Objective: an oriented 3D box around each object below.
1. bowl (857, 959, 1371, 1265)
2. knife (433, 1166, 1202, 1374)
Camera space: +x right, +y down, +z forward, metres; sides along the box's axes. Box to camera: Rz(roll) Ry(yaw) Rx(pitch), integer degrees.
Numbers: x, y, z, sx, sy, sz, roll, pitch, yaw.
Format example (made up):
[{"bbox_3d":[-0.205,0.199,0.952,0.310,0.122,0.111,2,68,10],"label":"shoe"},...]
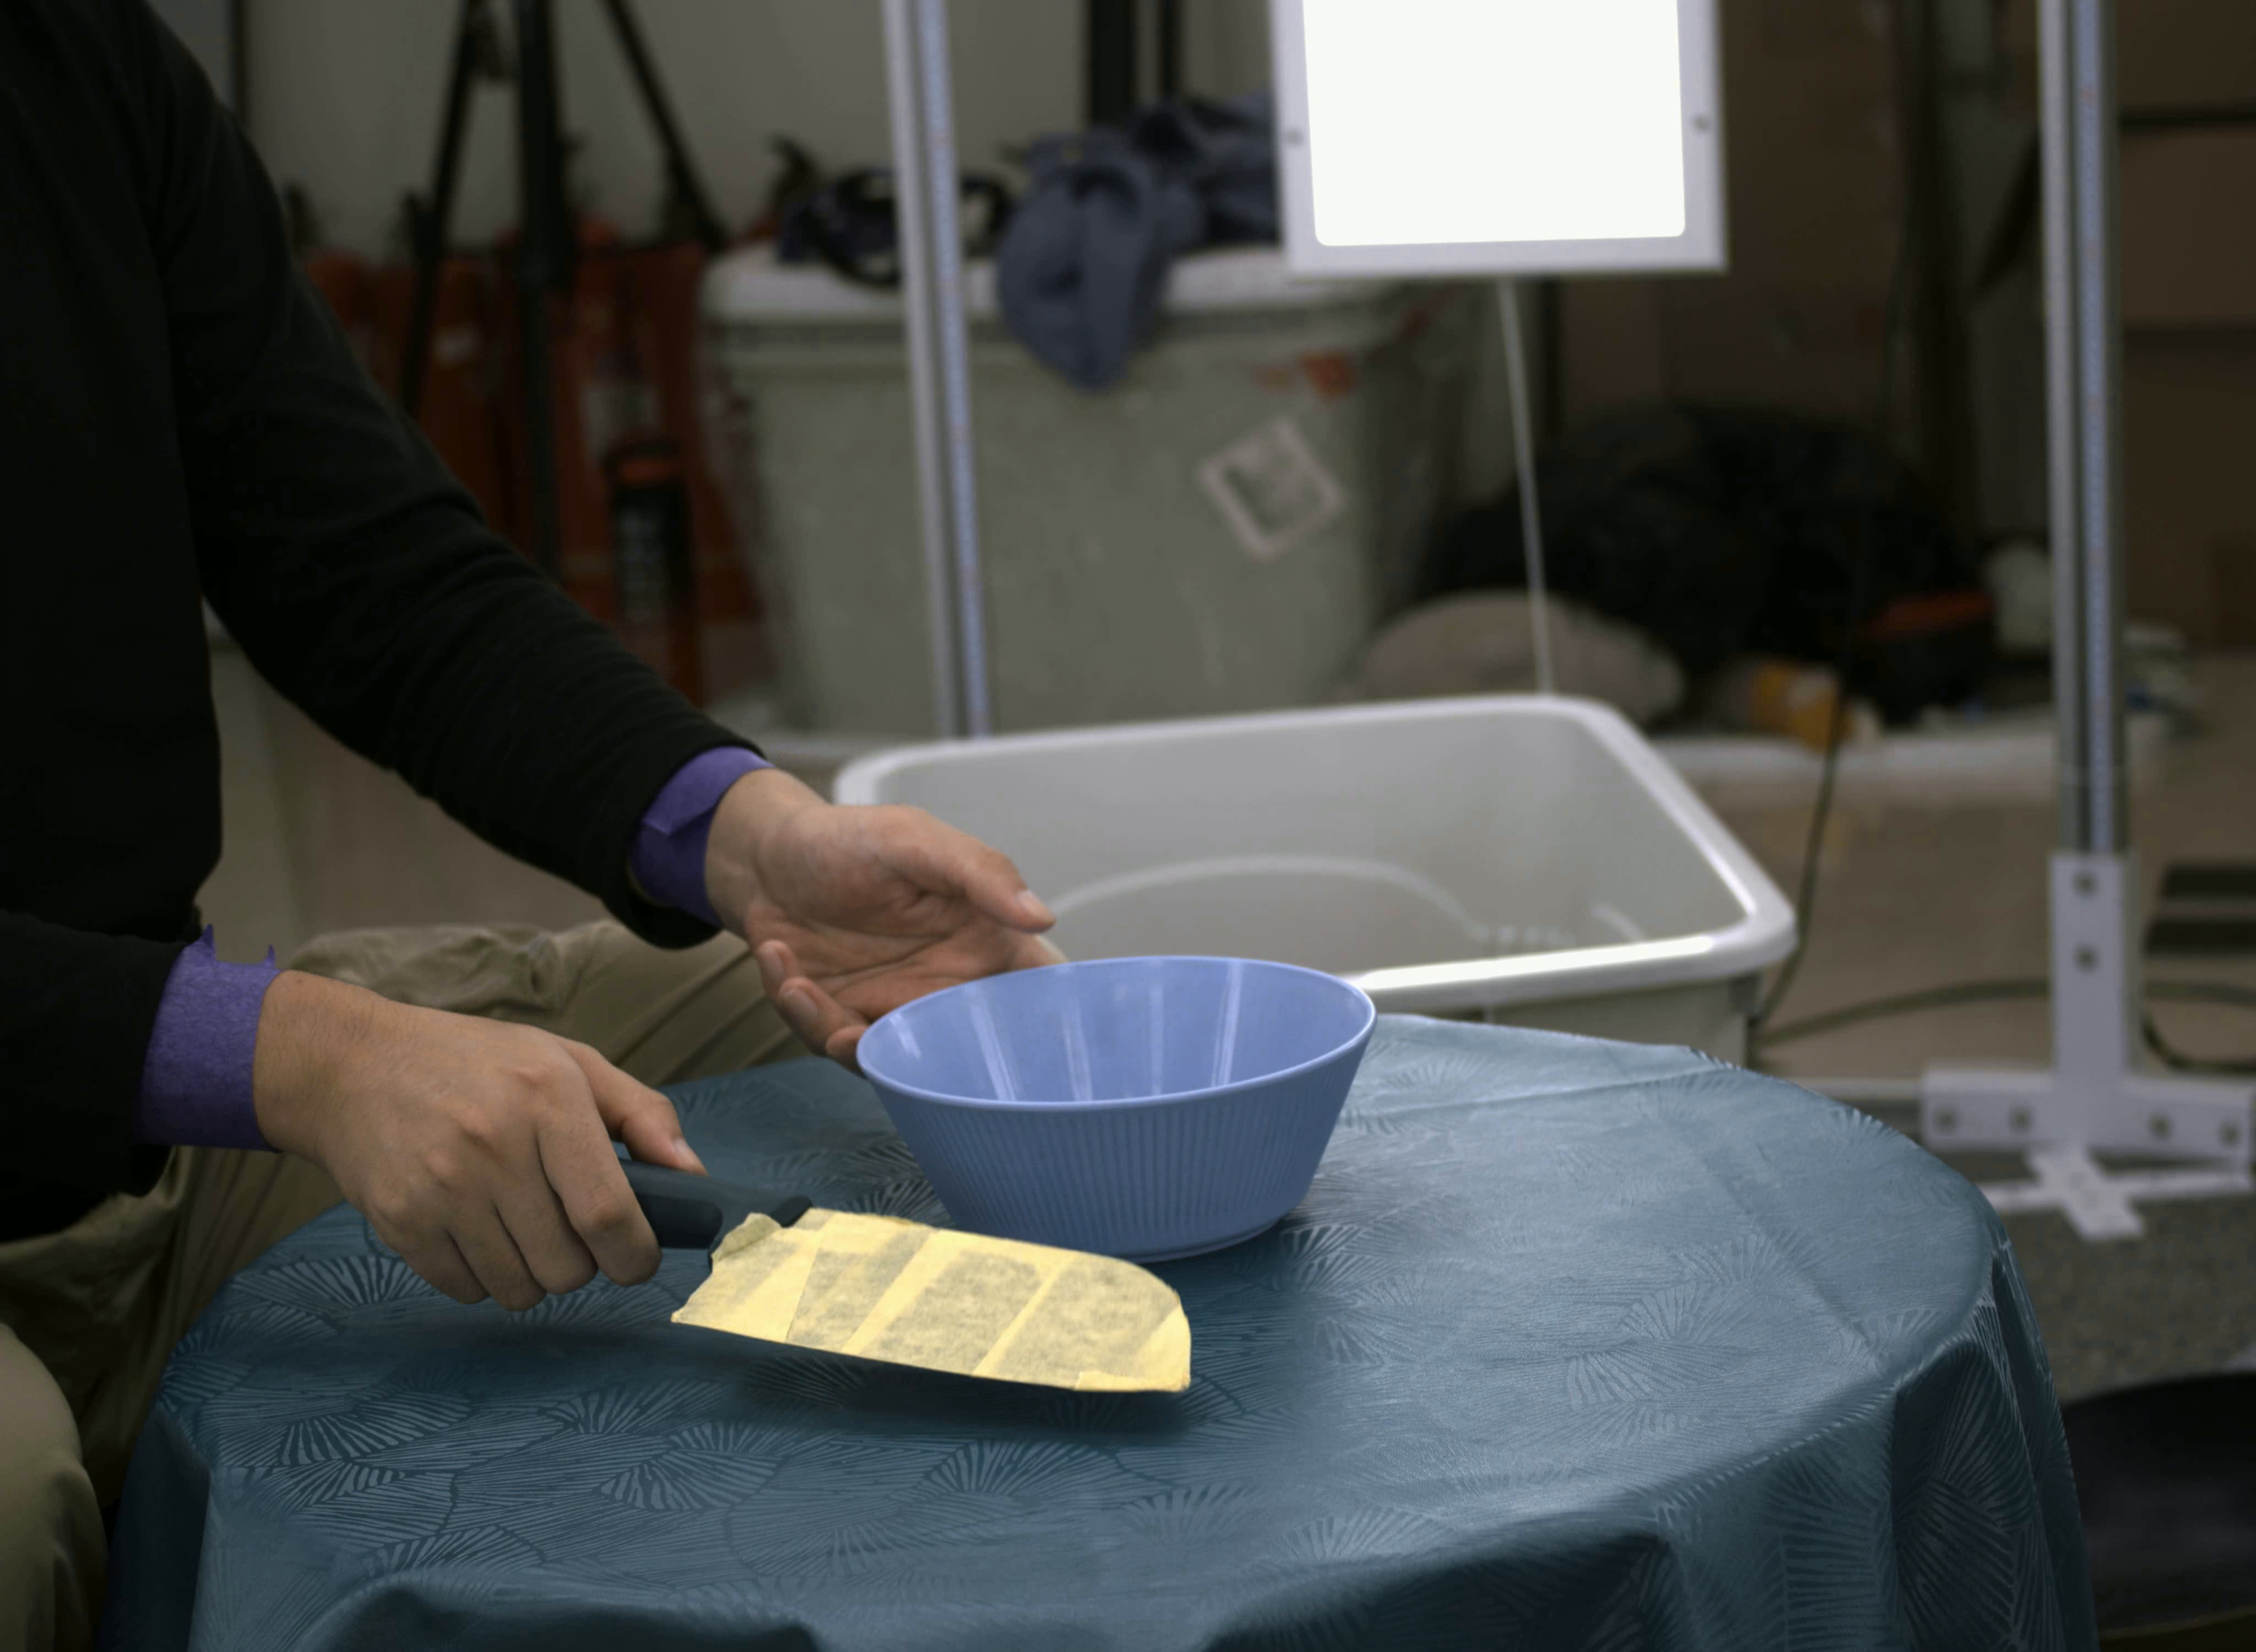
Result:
[{"bbox_3d":[-0.002,0.100,1.864,0.175,0.070,0.176,-5,14,0],"label":"bowl"},{"bbox_3d":[-0.105,0.141,1.740,0.295,0.027,0.079,7,29,29],"label":"knife"}]
